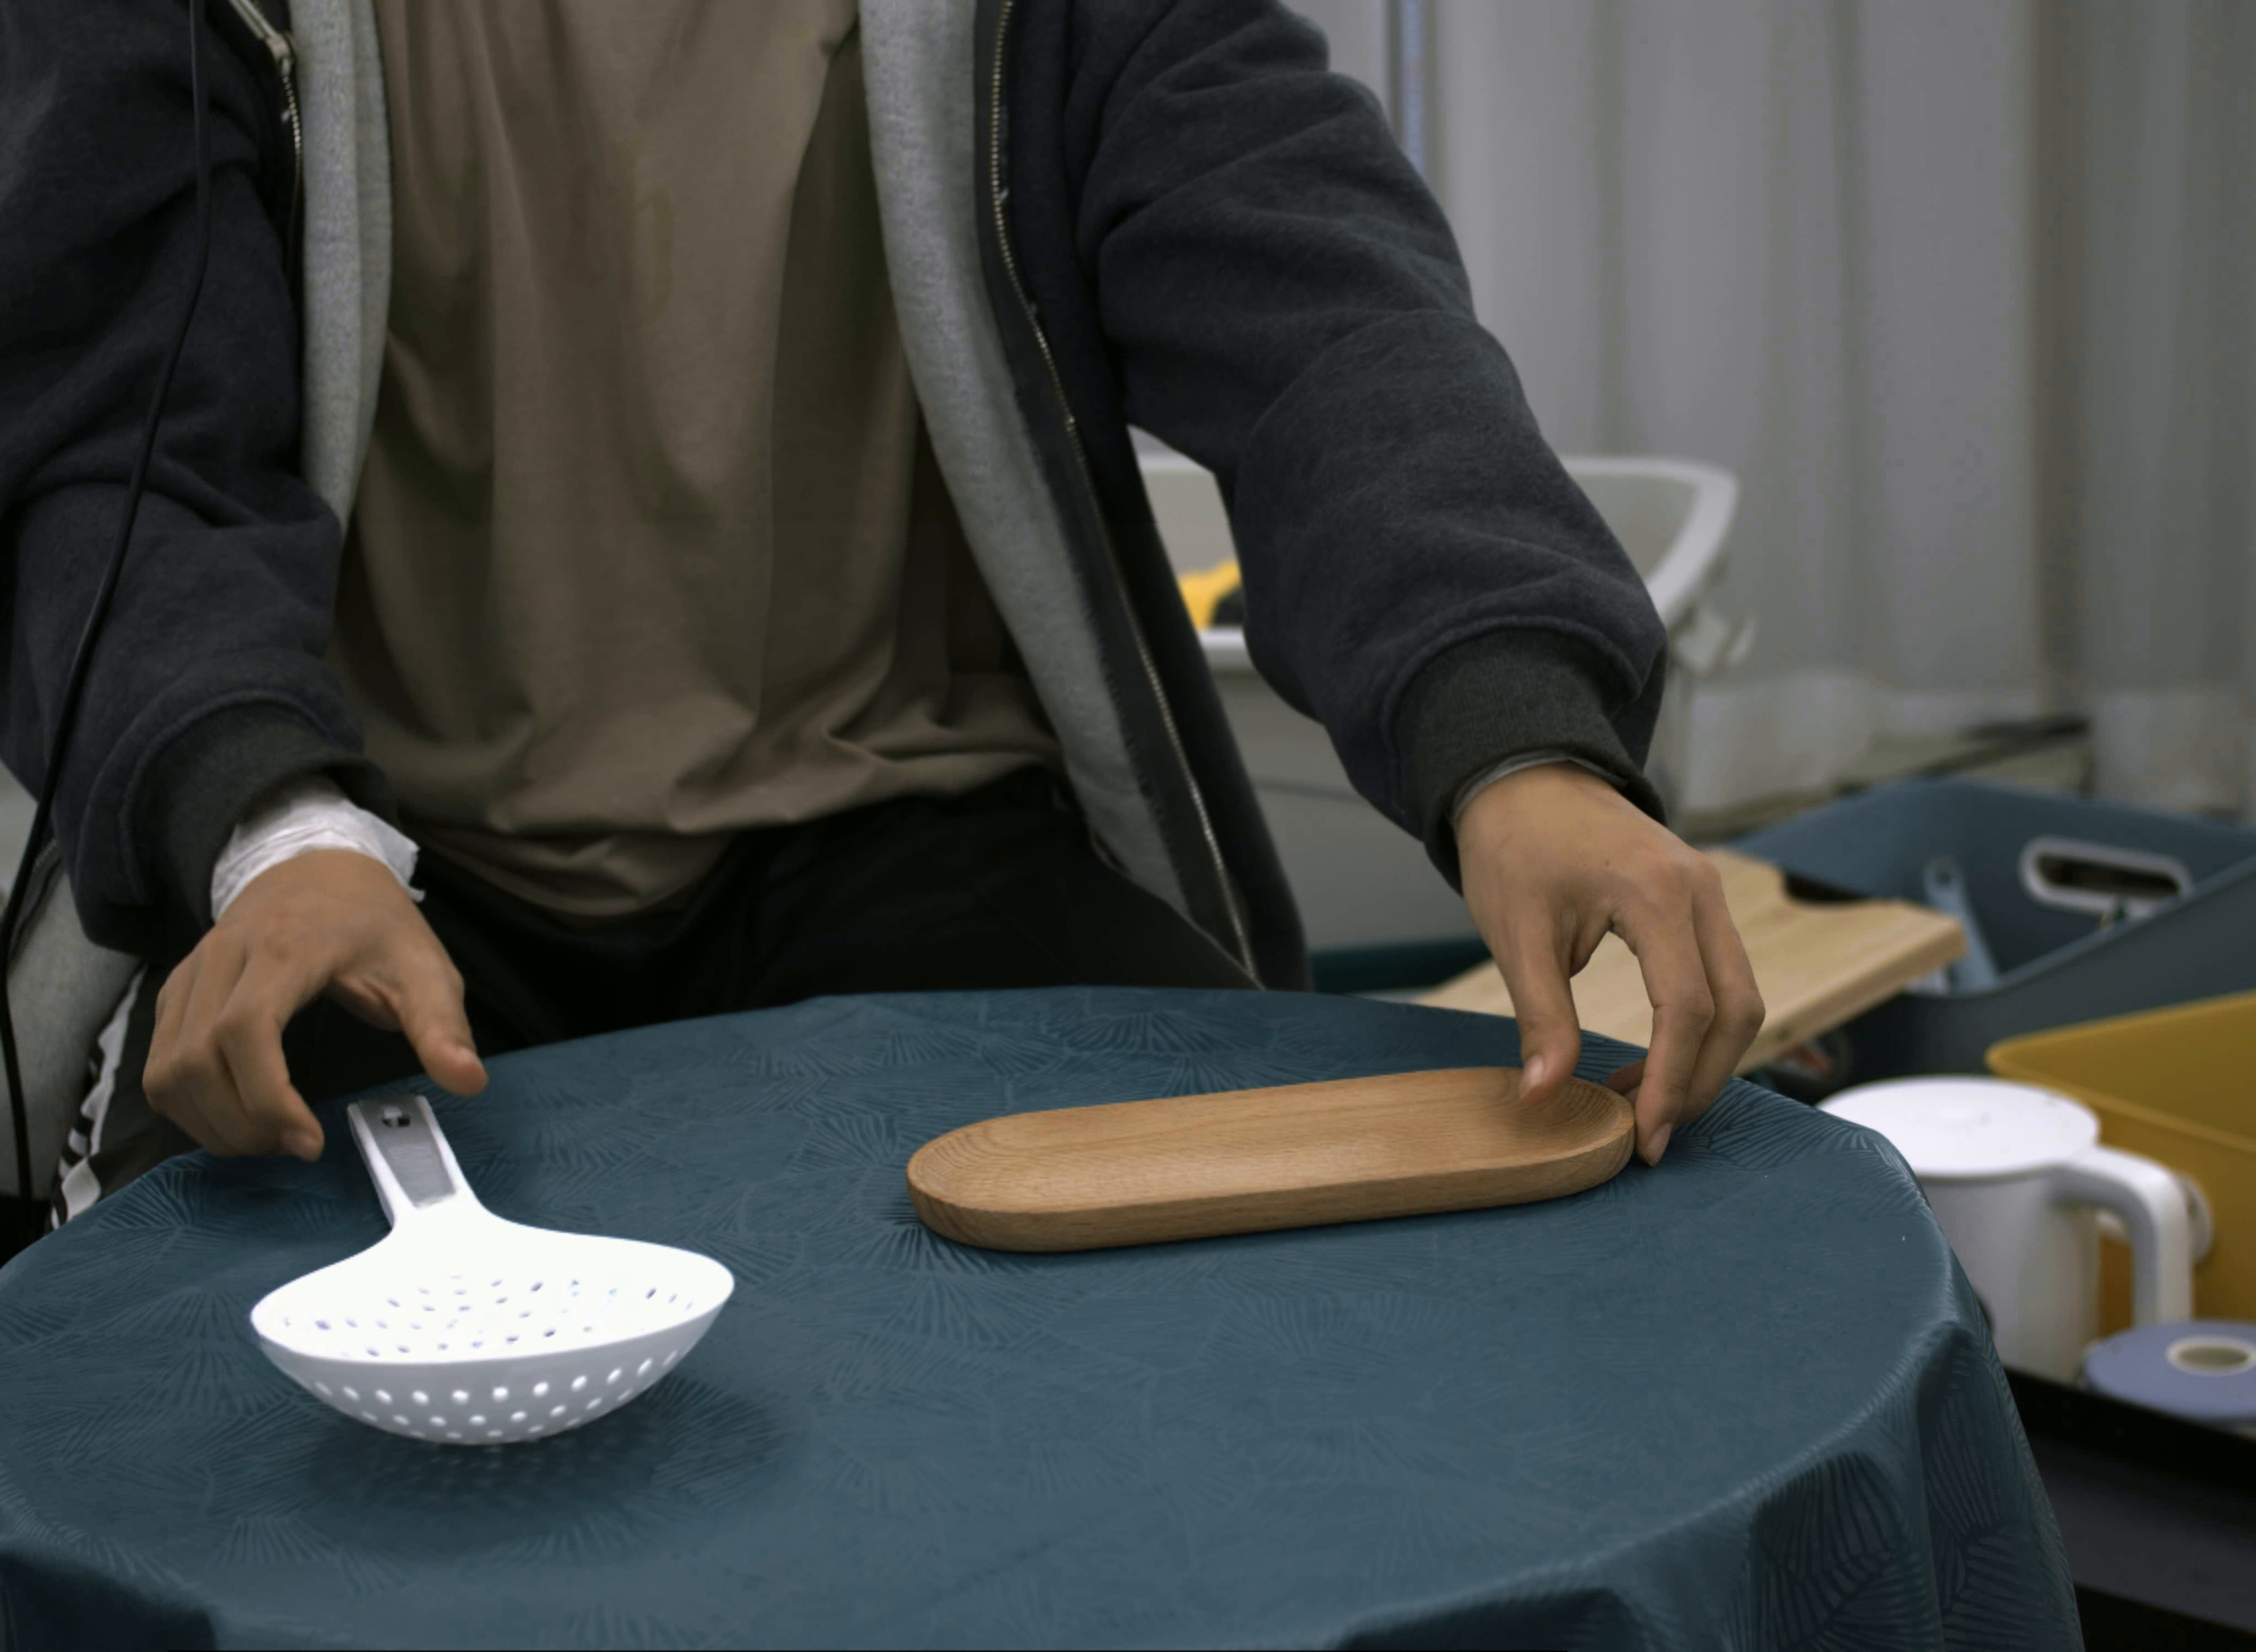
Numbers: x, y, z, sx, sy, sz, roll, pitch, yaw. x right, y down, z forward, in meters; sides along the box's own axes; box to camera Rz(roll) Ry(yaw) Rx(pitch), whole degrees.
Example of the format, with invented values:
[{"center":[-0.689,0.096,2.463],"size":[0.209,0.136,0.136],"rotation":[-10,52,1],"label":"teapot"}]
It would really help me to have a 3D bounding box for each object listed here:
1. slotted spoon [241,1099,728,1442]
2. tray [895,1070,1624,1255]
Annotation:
[{"center":[-0.205,0.123,1.635],"size":[0.135,0.045,0.352],"rotation":[-5,14,-13],"label":"slotted spoon"},{"center":[0.042,0.106,1.711],"size":[0.230,0.020,0.102],"rotation":[-7,14,-9],"label":"tray"}]
